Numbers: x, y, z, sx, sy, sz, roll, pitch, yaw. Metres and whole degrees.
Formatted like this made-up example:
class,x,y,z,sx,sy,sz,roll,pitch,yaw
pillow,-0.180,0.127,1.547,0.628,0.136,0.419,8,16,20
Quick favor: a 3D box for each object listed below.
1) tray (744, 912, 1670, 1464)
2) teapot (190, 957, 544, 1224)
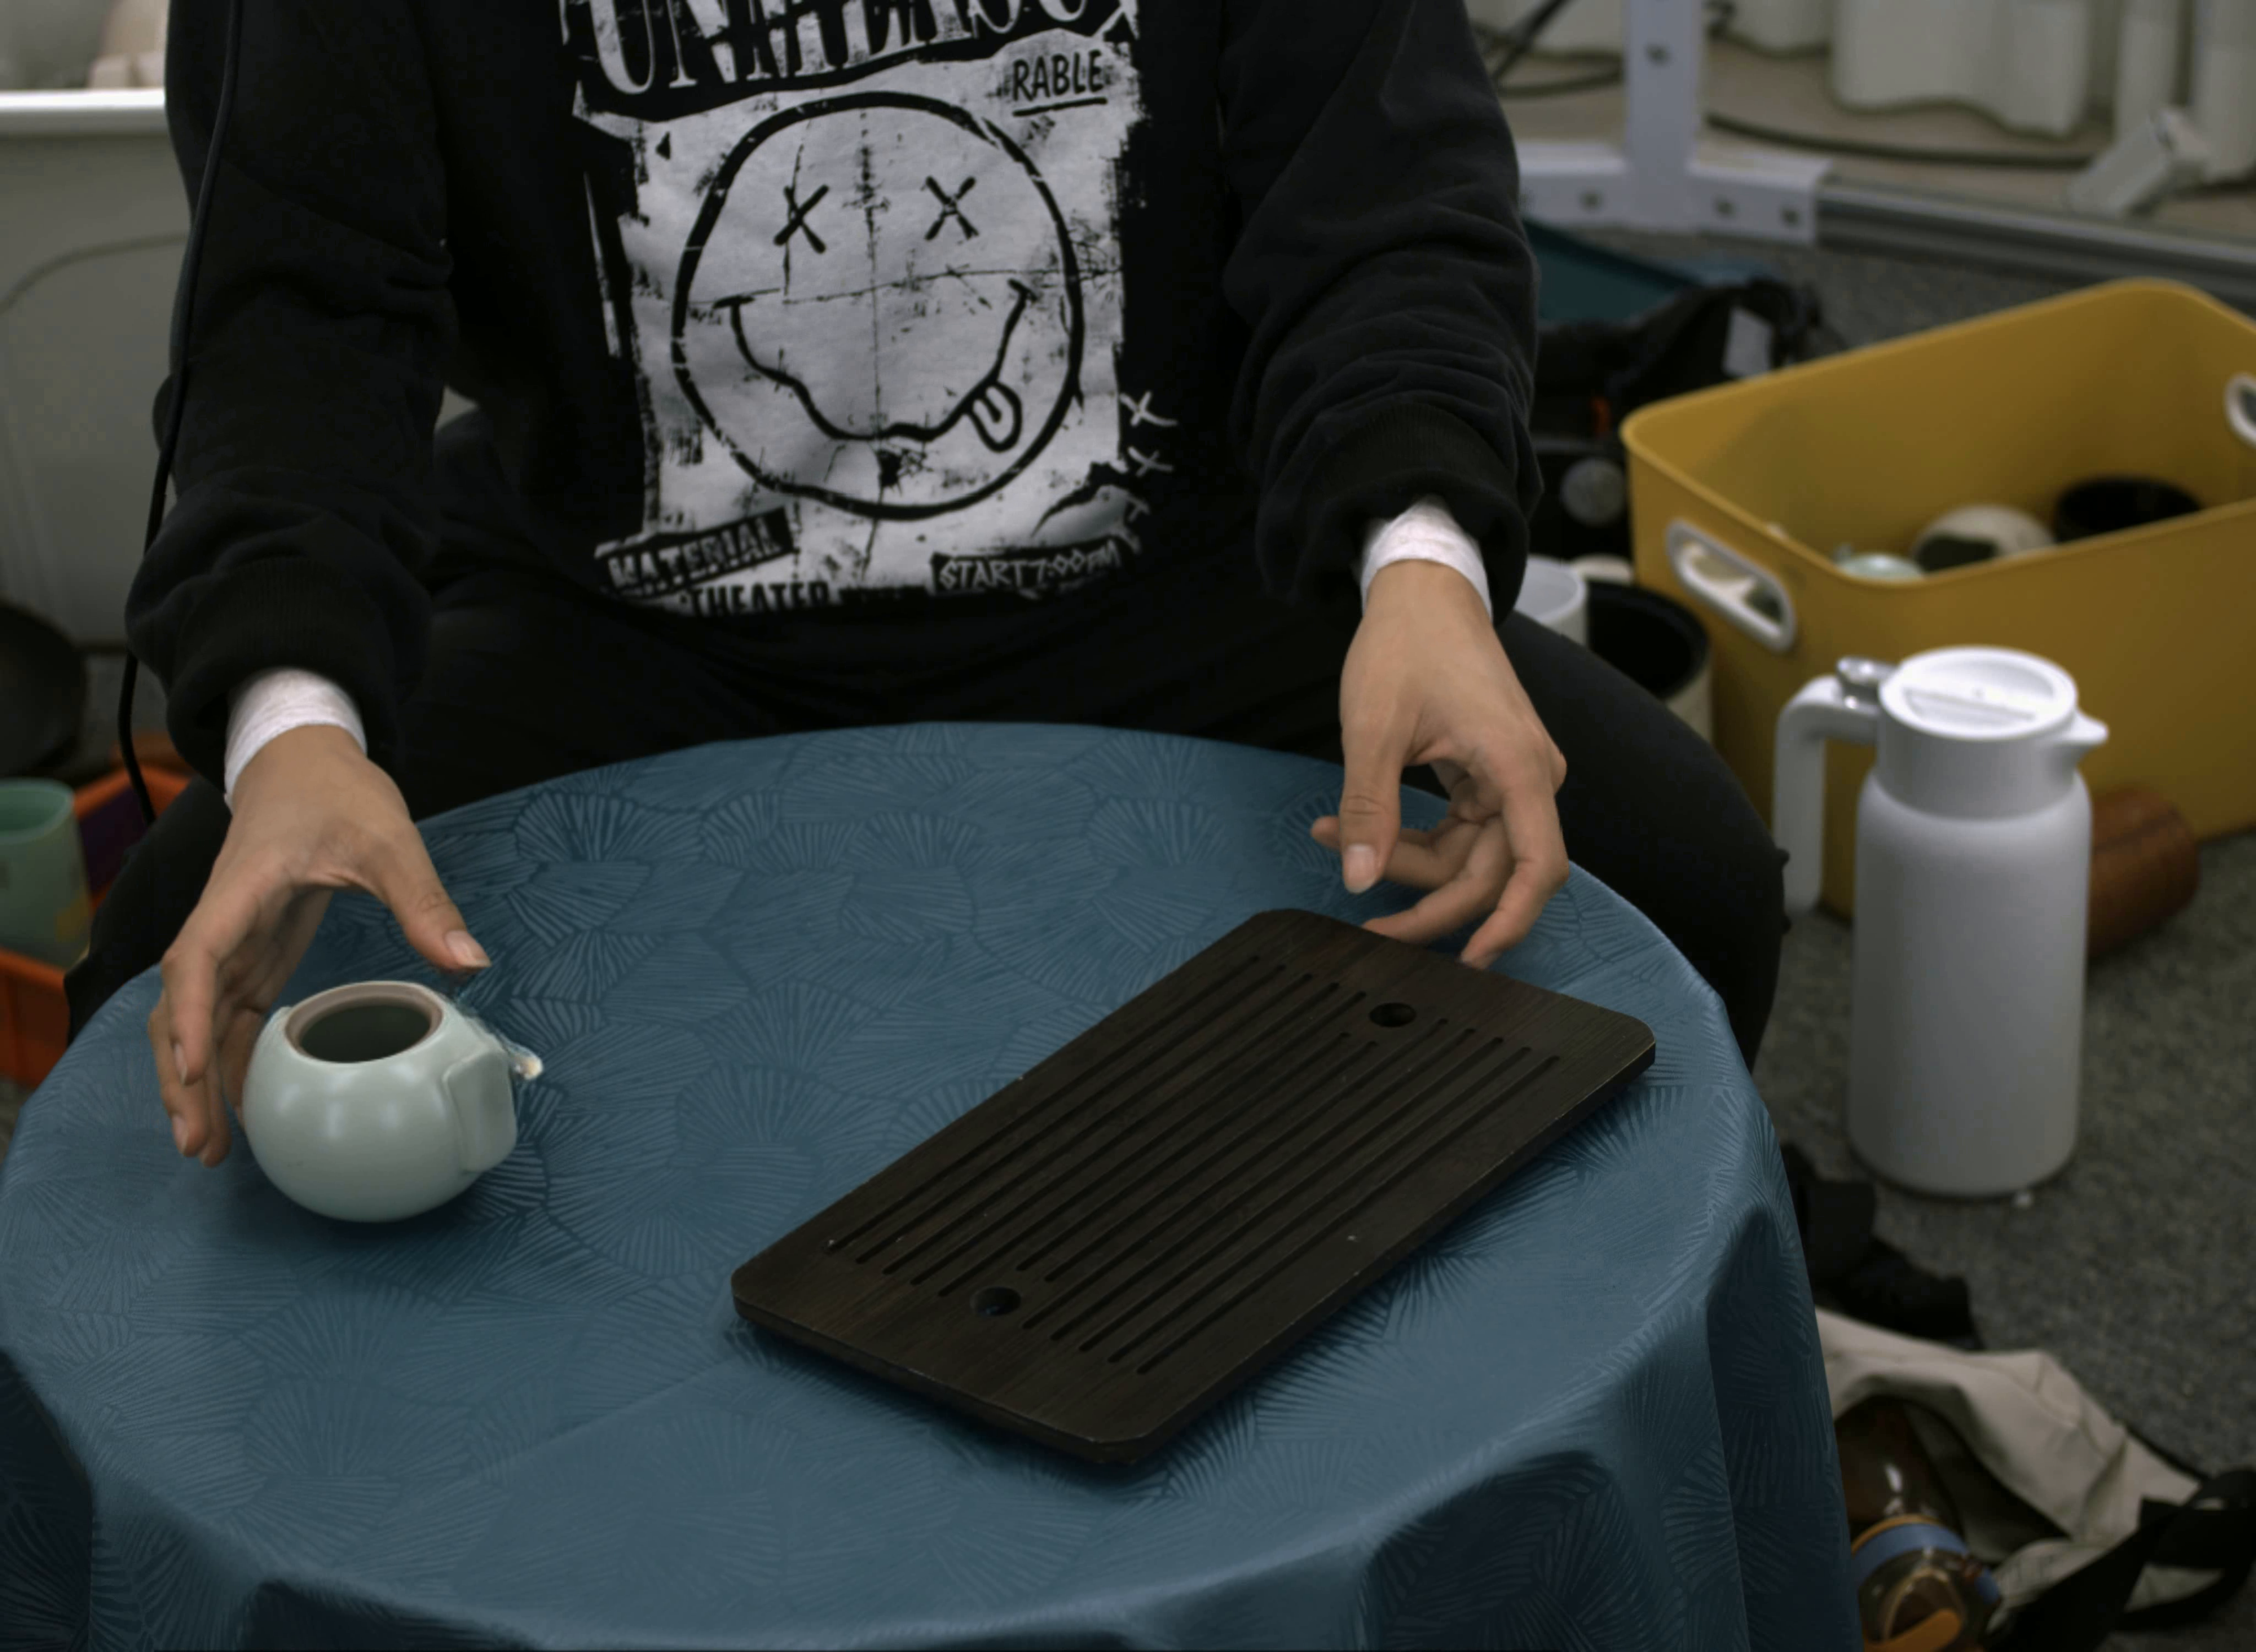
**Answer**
class,x,y,z,sx,sy,sz,roll,pitch,yaw
tray,0.030,0.116,1.848,0.169,0.018,0.310,17,33,34
teapot,-0.251,0.091,1.865,0.143,0.074,0.090,15,32,28
